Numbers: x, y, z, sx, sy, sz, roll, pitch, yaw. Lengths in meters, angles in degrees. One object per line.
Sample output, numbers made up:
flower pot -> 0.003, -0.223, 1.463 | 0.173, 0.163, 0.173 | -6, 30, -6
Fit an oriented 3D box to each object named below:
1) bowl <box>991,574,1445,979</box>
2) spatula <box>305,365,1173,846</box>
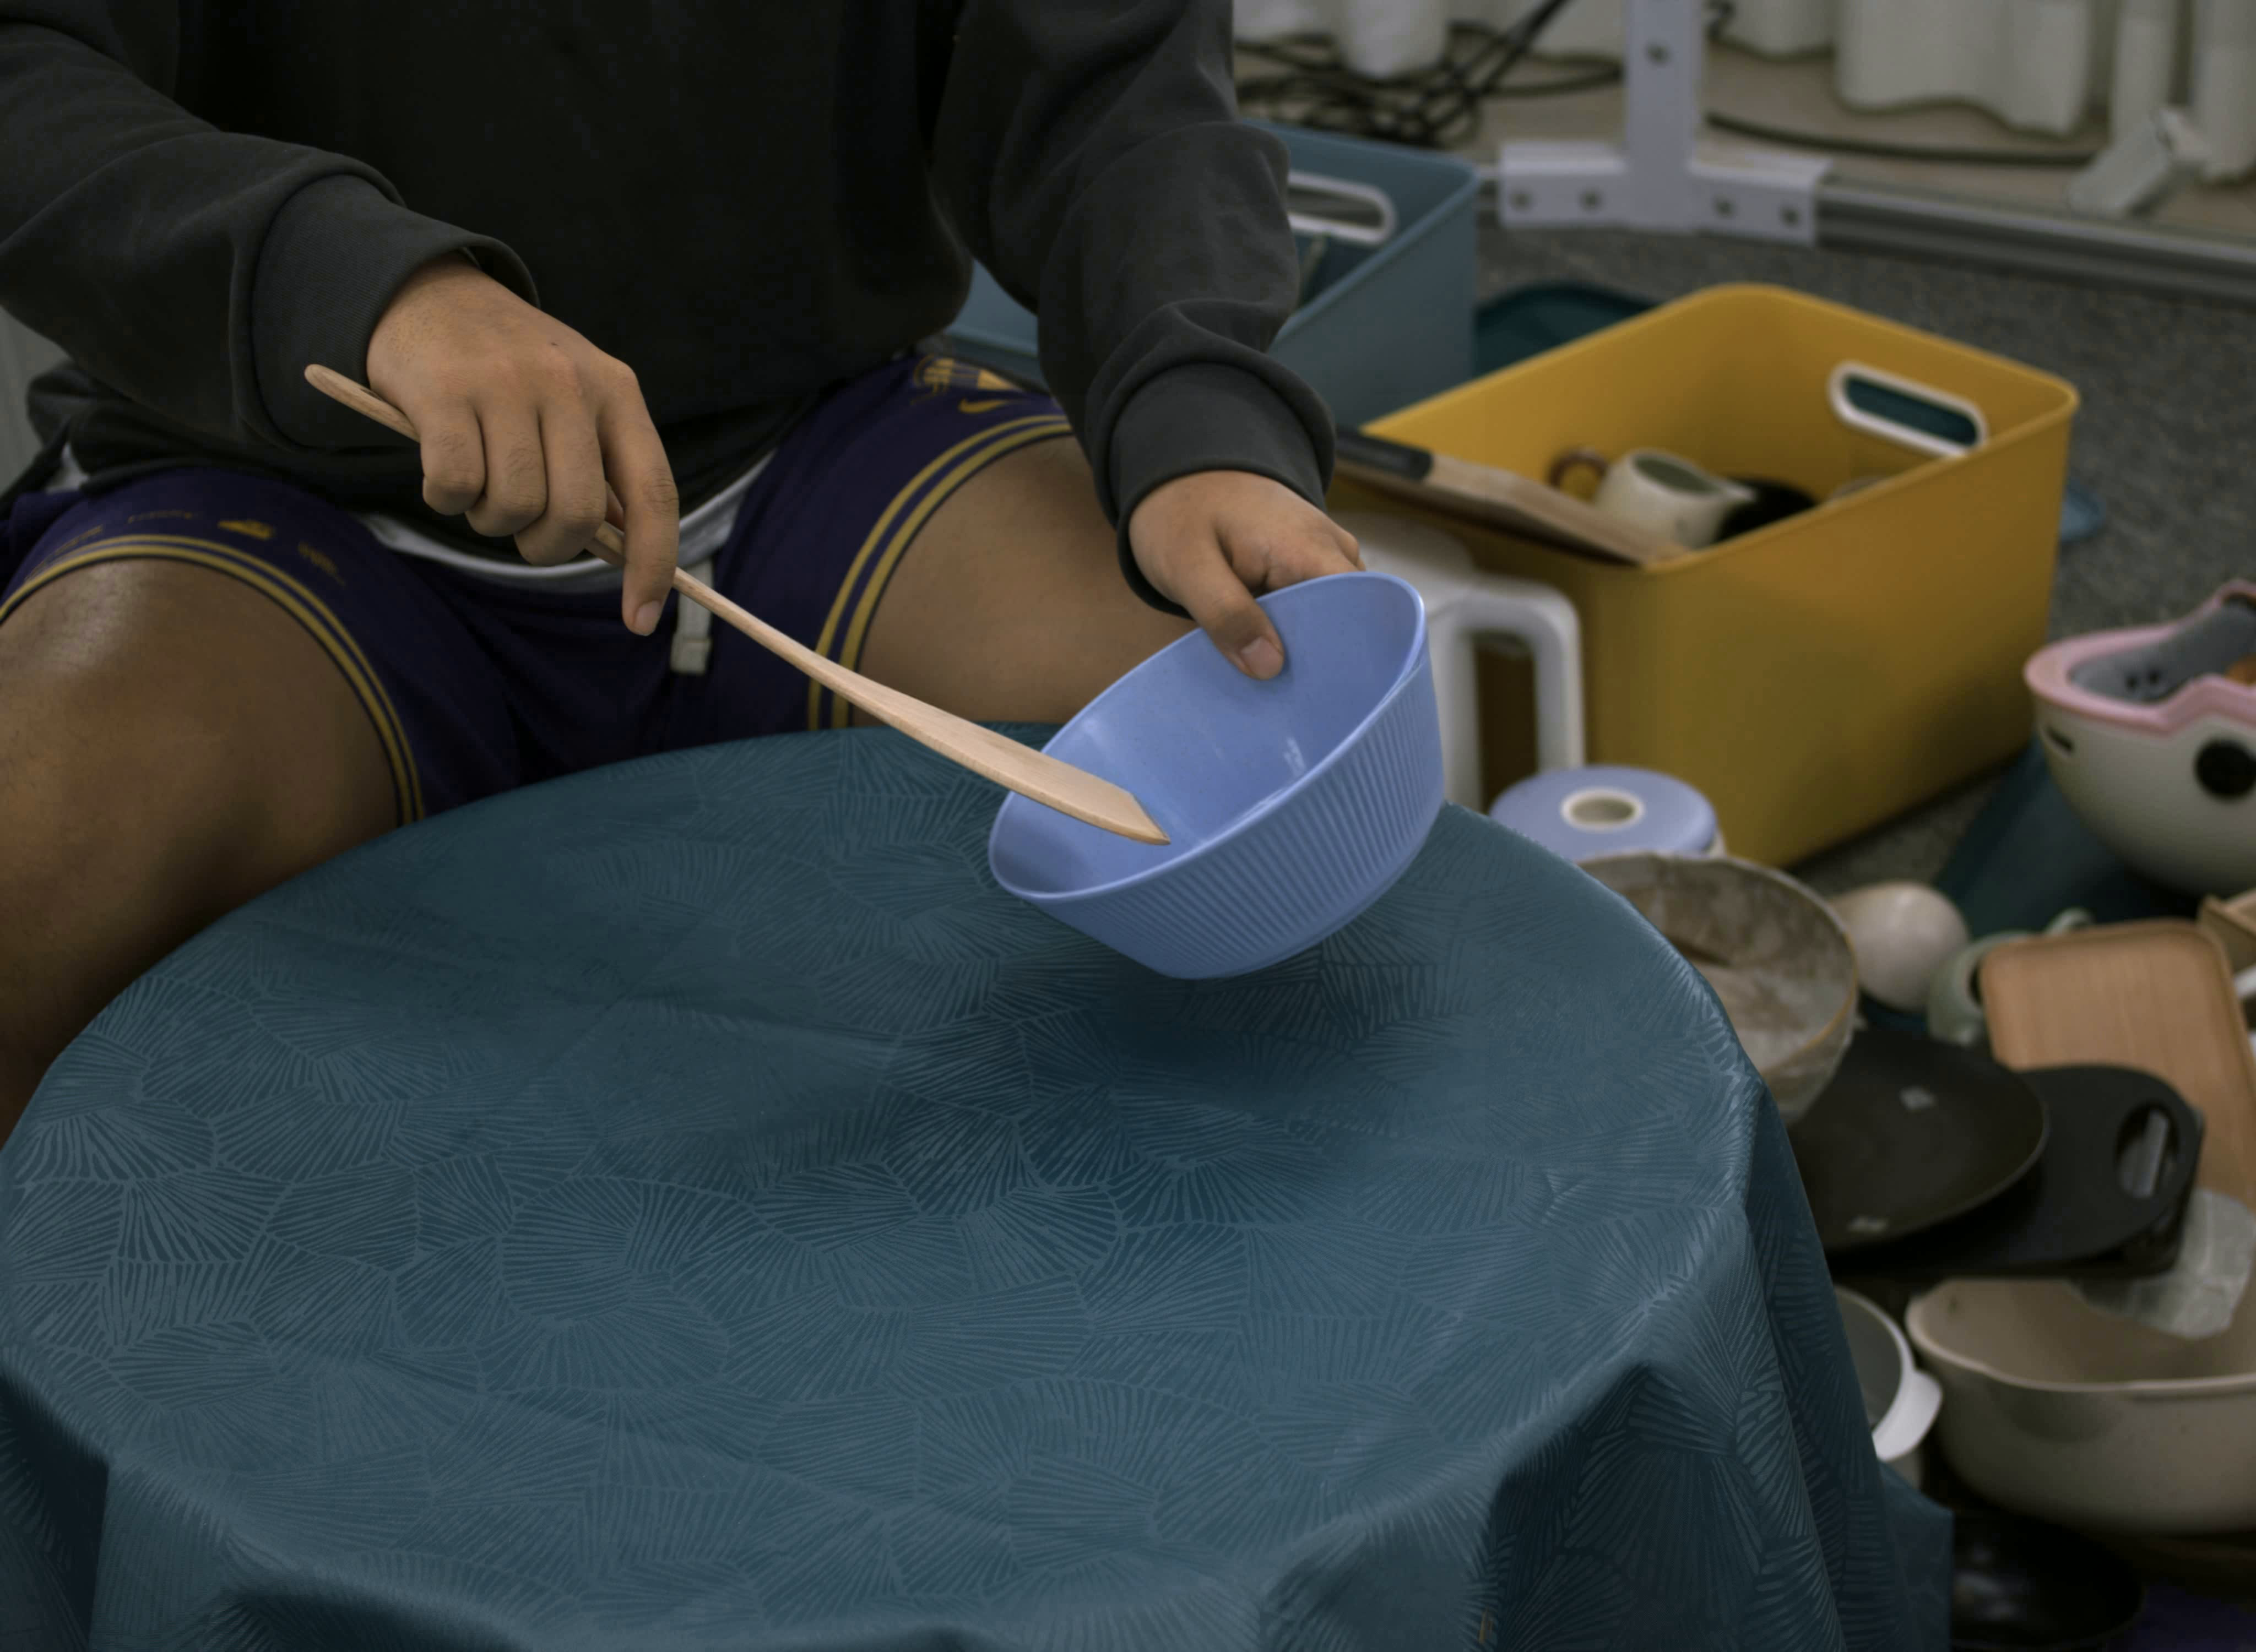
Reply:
bowl -> 0.043, -0.008, 1.945 | 0.174, 0.070, 0.178 | -29, 23, 13
spatula -> -0.130, -0.074, 1.895 | 0.326, 0.016, 0.080 | 30, 8, -9
